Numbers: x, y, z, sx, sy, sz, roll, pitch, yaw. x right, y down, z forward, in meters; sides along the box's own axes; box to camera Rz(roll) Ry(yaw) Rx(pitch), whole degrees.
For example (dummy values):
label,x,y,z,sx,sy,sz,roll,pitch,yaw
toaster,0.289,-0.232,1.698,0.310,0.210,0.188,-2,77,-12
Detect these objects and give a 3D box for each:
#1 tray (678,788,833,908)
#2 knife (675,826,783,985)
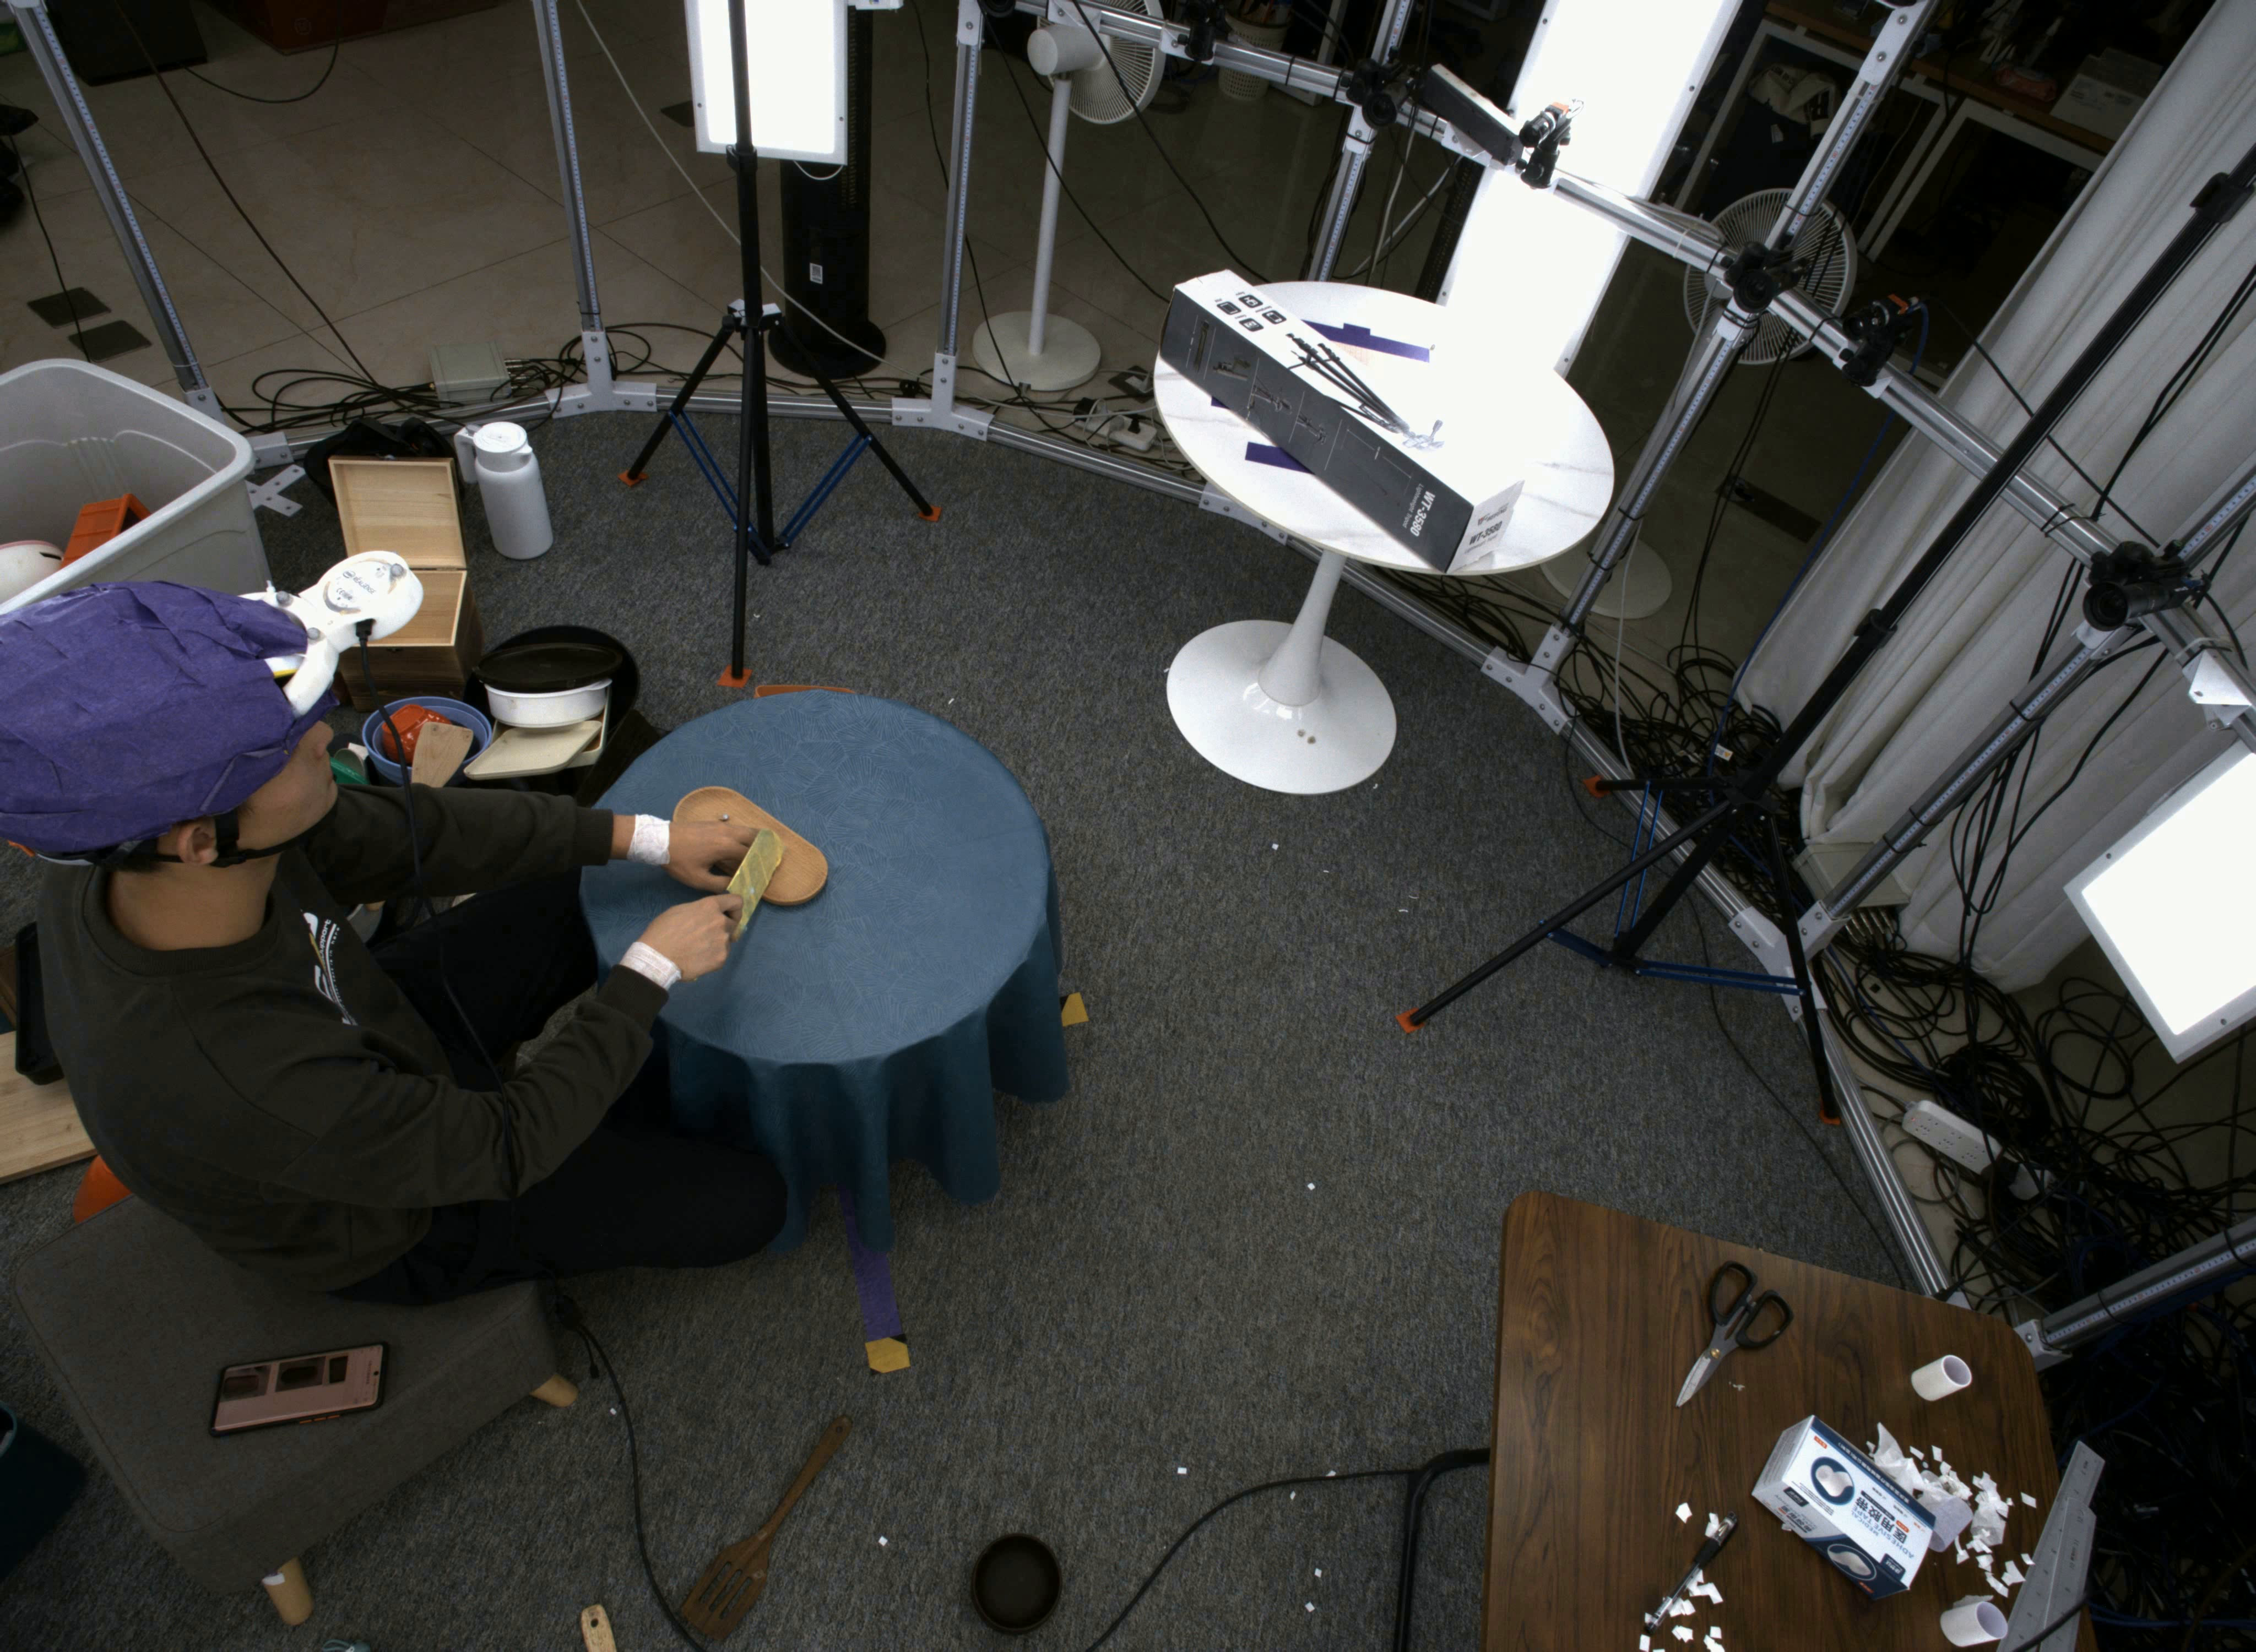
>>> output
label,x,y,z,sx,sy,sz,roll,pitch,yaw
tray,-0.487,0.026,1.689,0.227,0.020,0.101,34,55,9
knife,-0.474,0.095,1.563,0.026,0.084,0.285,3,37,12
